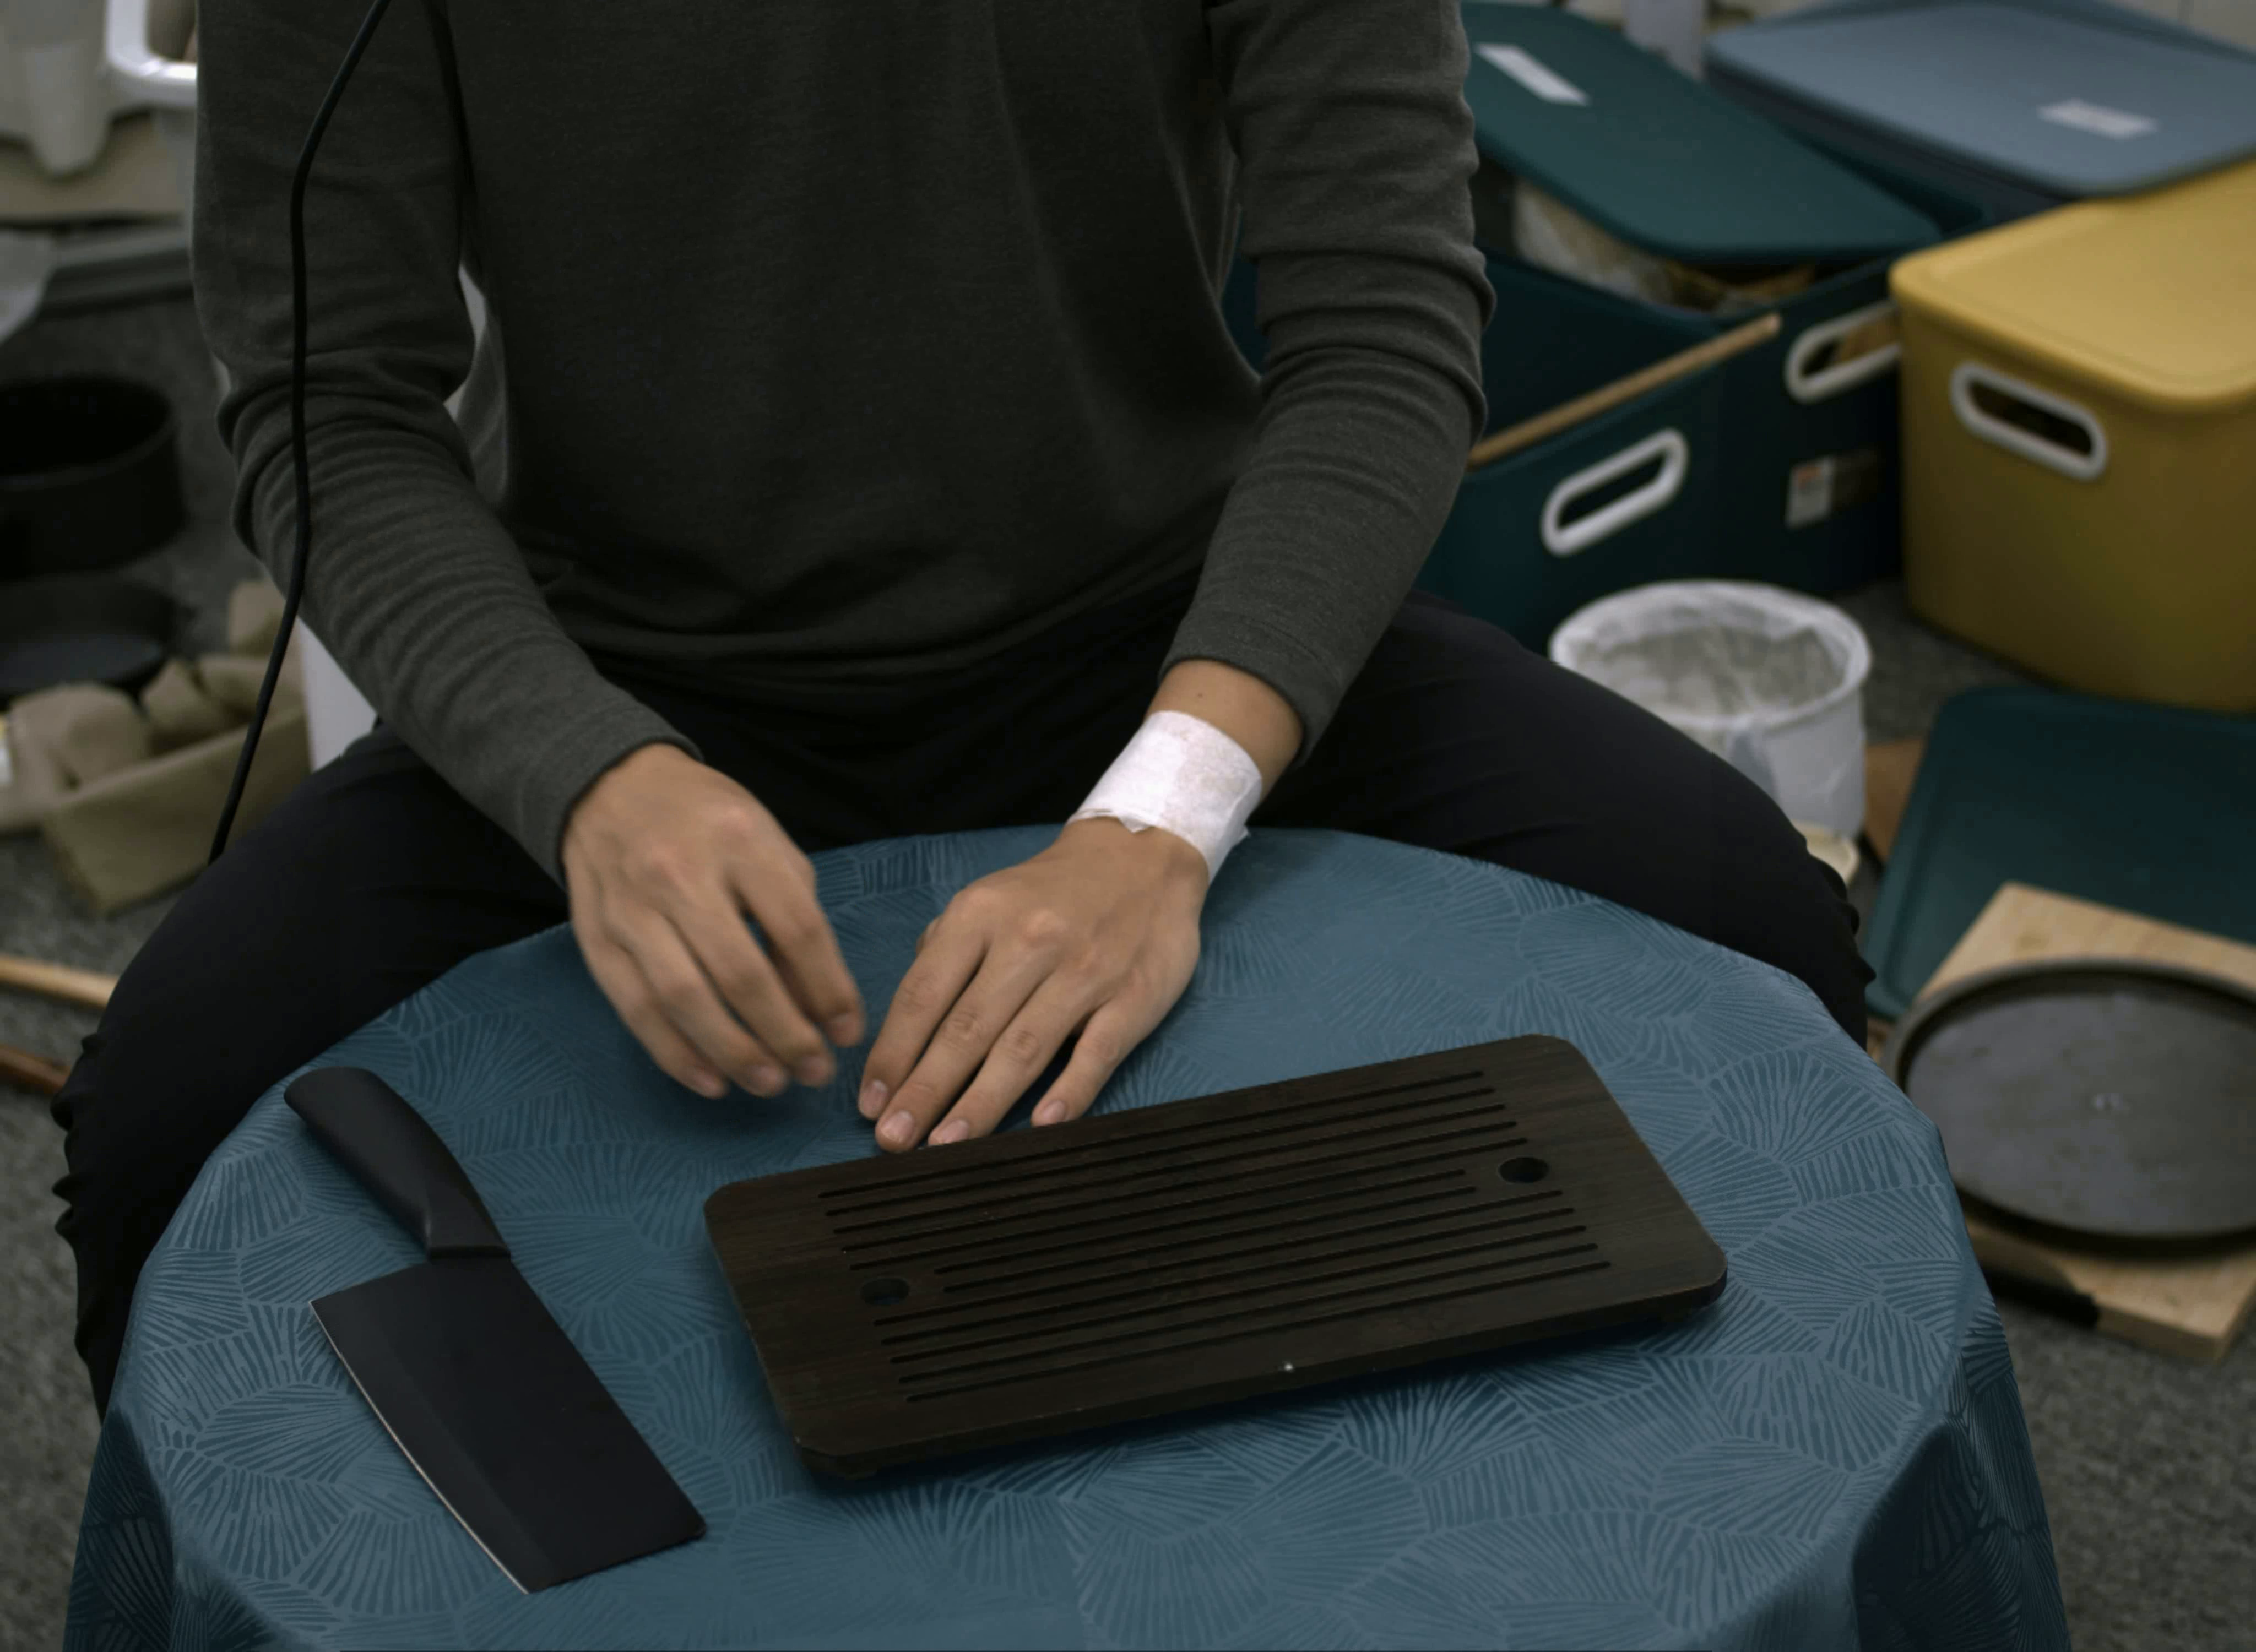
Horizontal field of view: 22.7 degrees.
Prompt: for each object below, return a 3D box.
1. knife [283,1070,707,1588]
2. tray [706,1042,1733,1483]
[{"bbox_3d":[-0.218,0.157,1.799,0.081,0.020,0.305,-14,31,-18],"label":"knife"},{"bbox_3d":[0.027,0.139,1.805,0.306,0.018,0.172,-9,27,-13],"label":"tray"}]
